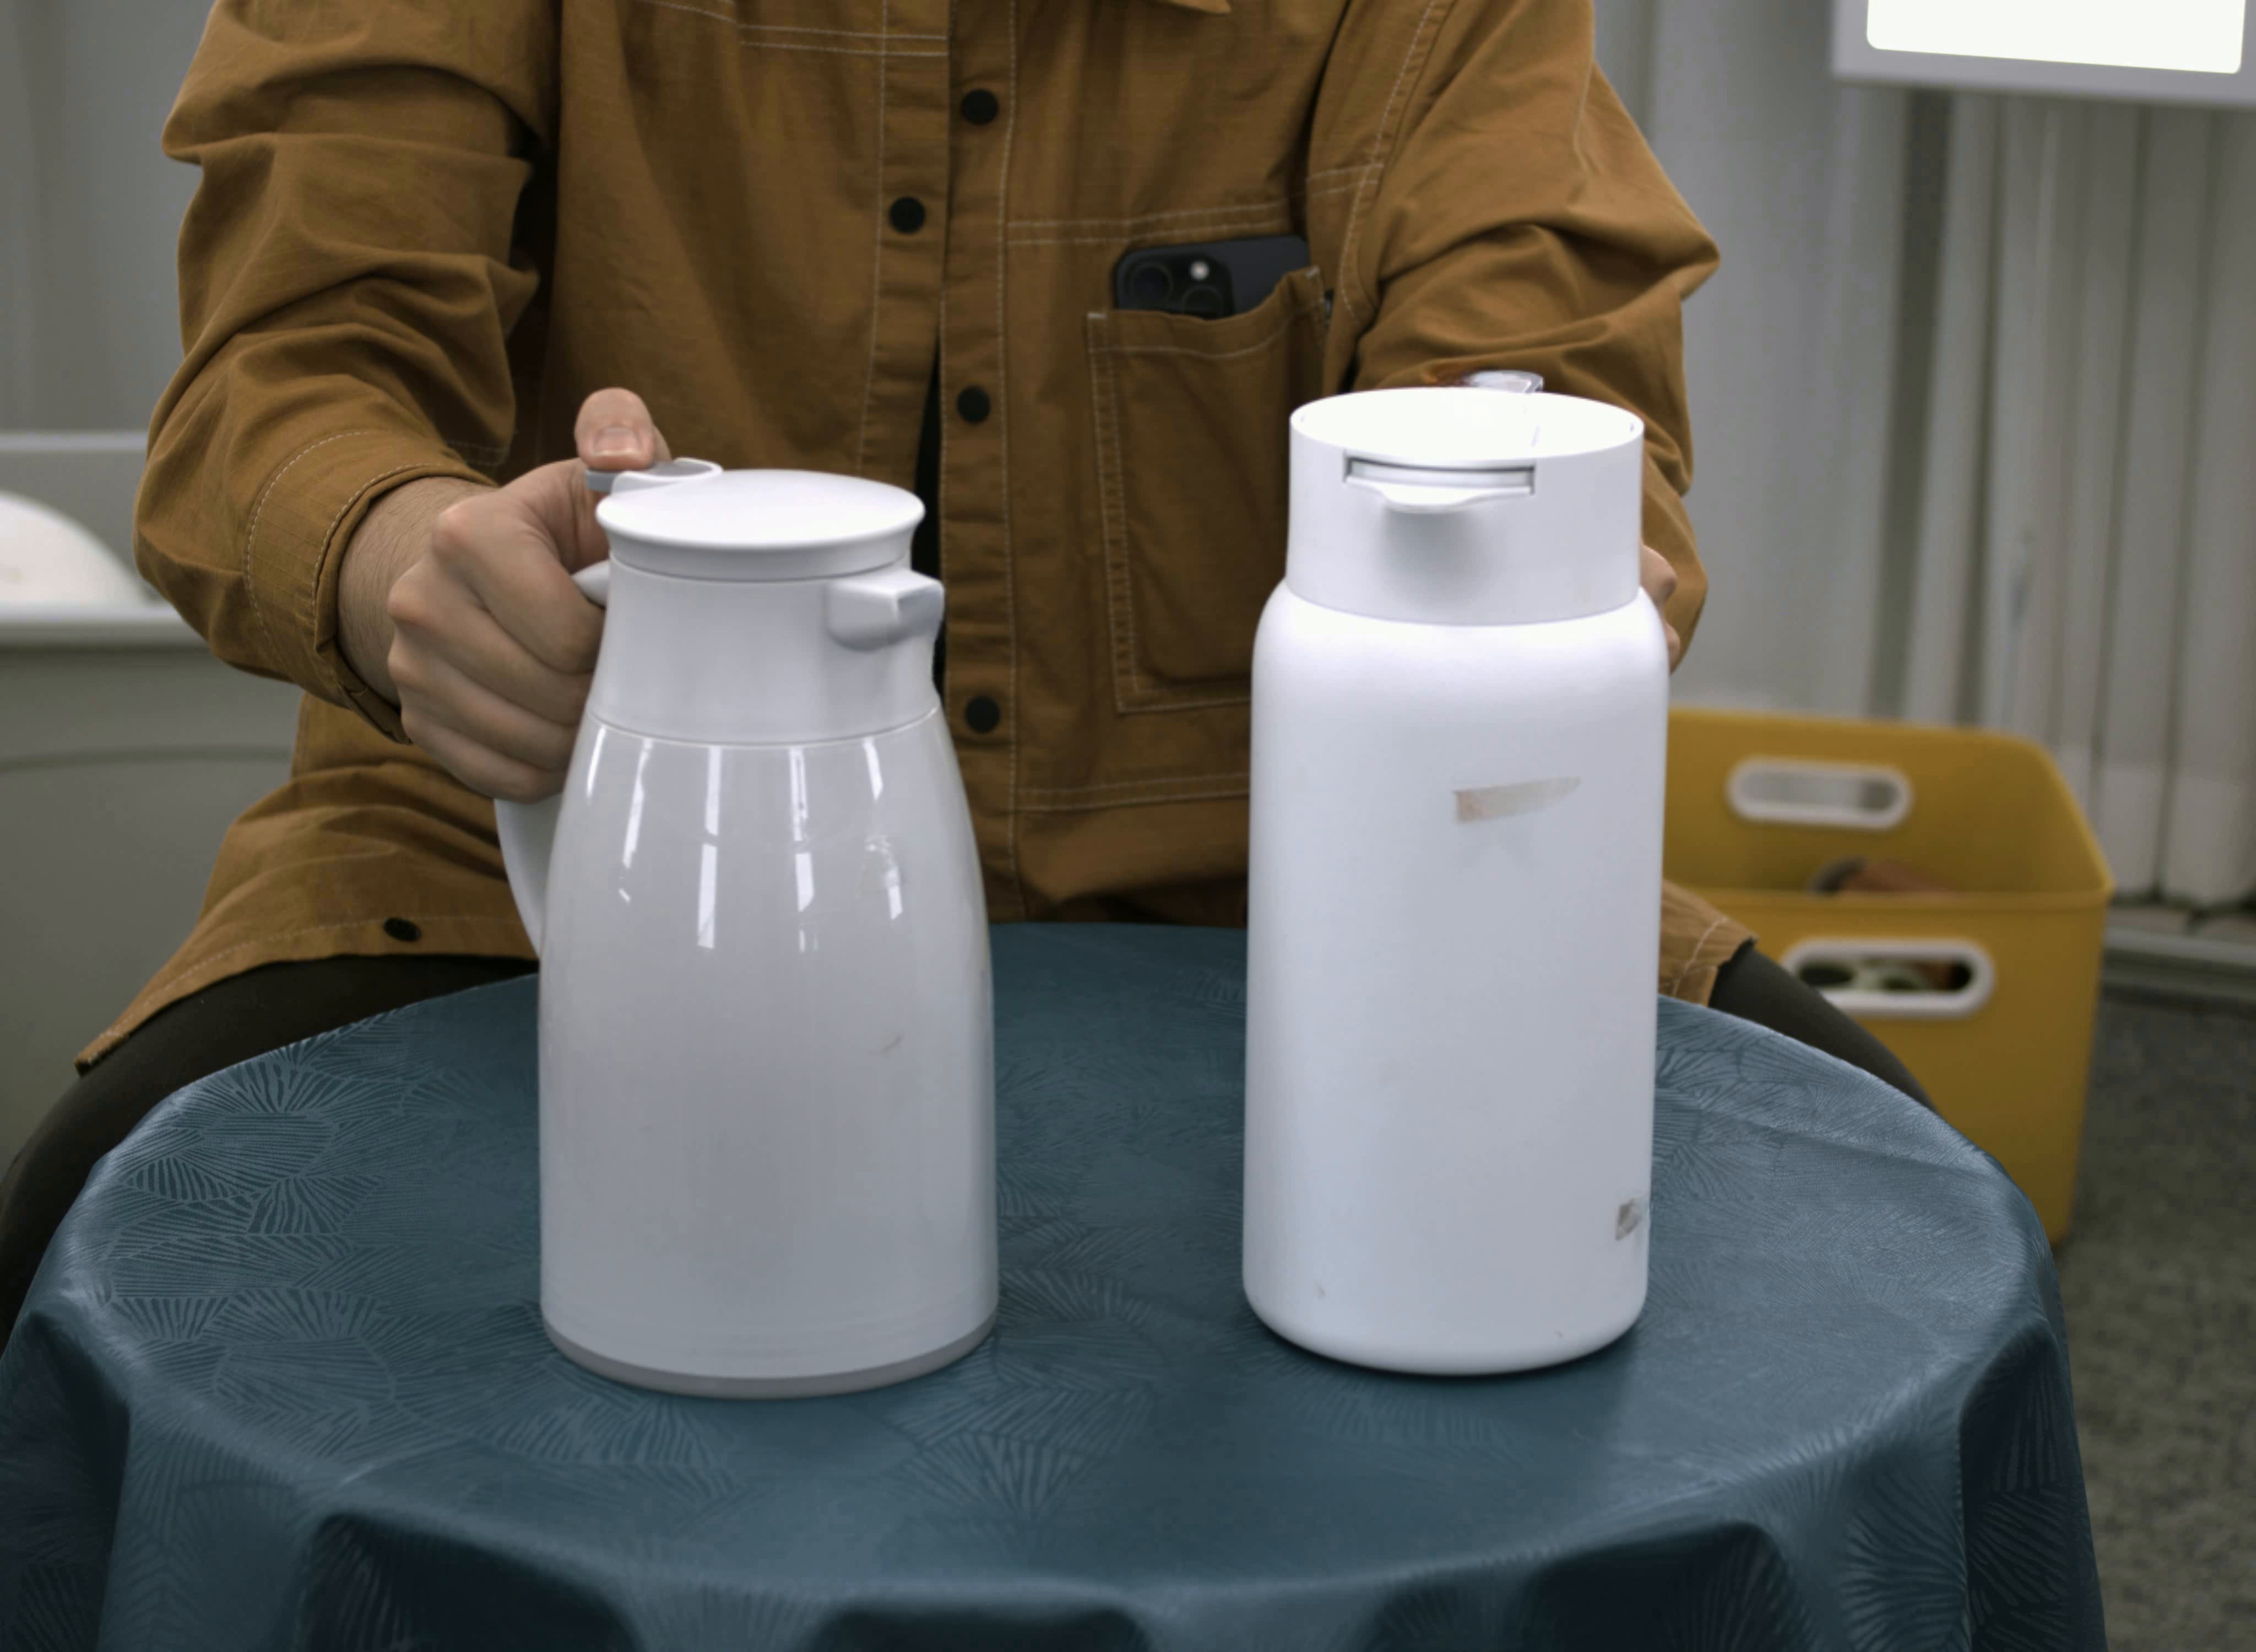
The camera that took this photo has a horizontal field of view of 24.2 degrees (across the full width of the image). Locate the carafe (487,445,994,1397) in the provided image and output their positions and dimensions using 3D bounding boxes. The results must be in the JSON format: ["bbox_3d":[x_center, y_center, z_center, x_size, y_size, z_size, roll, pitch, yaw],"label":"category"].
[{"bbox_3d":[-0.118,0.018,1.490,0.165,0.250,0.133,13,20,39],"label":"carafe"}]

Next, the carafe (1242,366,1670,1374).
[{"bbox_3d":[0.095,0.008,1.501,0.123,0.271,0.172,2,16,13],"label":"carafe"}]
